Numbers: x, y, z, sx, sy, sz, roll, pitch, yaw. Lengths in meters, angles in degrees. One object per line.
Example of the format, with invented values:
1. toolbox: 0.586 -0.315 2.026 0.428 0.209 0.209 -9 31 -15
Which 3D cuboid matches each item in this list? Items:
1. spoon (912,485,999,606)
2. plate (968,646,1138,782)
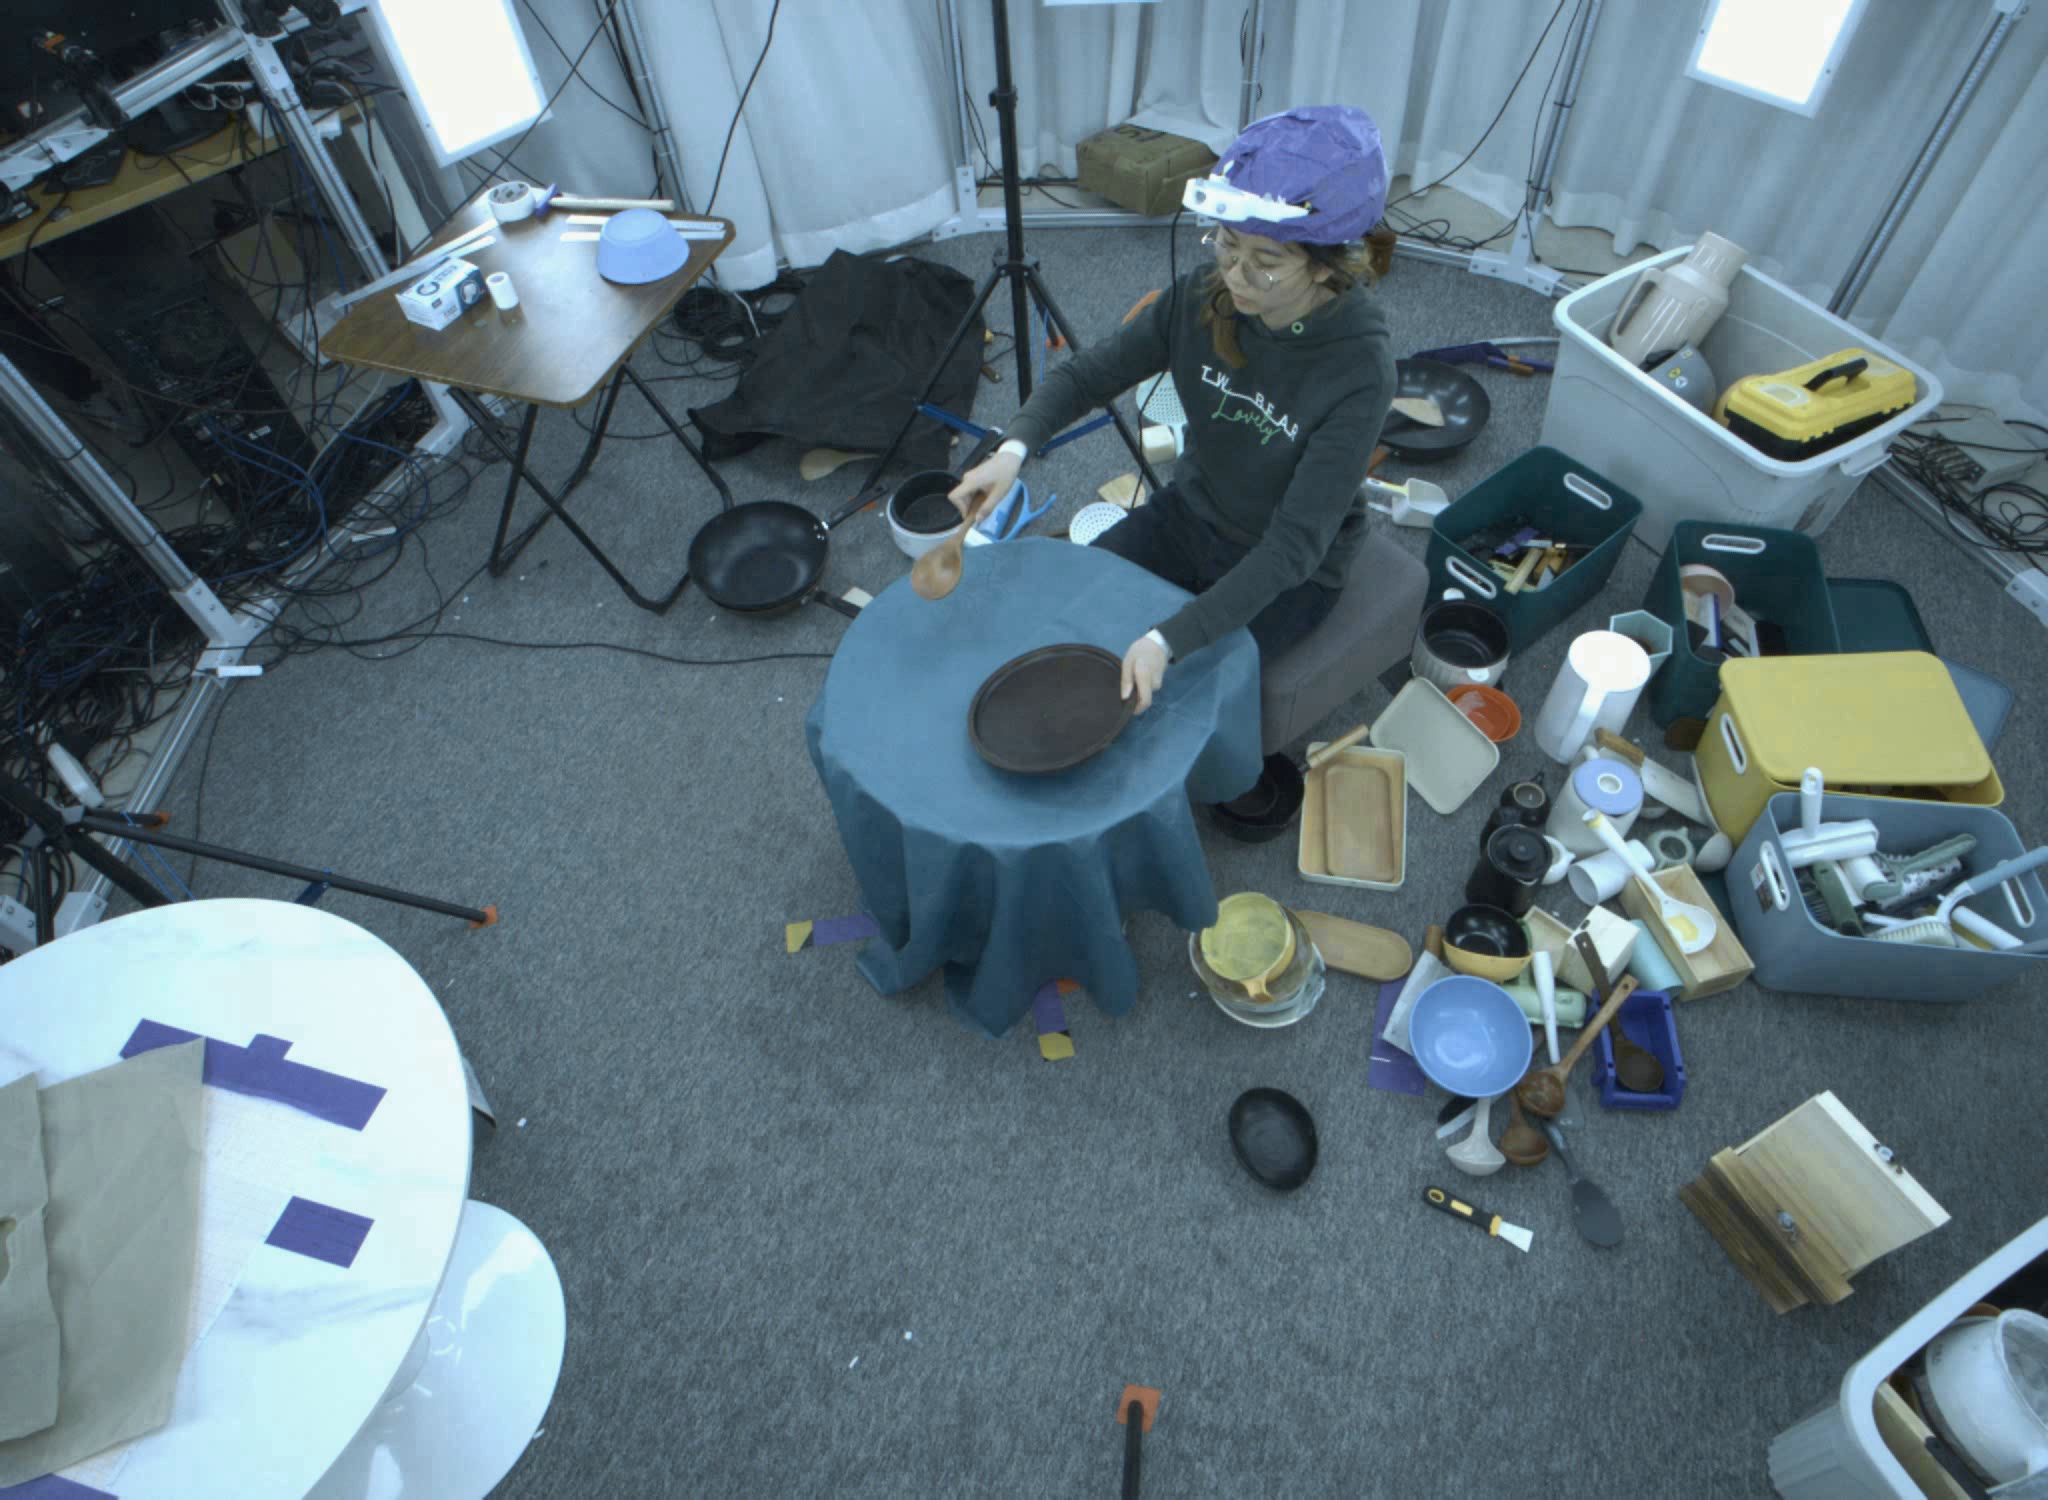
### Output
1. spoon: -0.098 -0.311 1.852 0.075 0.017 0.216 27 80 12
2. plate: 0.042 -0.053 1.786 0.253 0.029 0.252 -8 50 11
